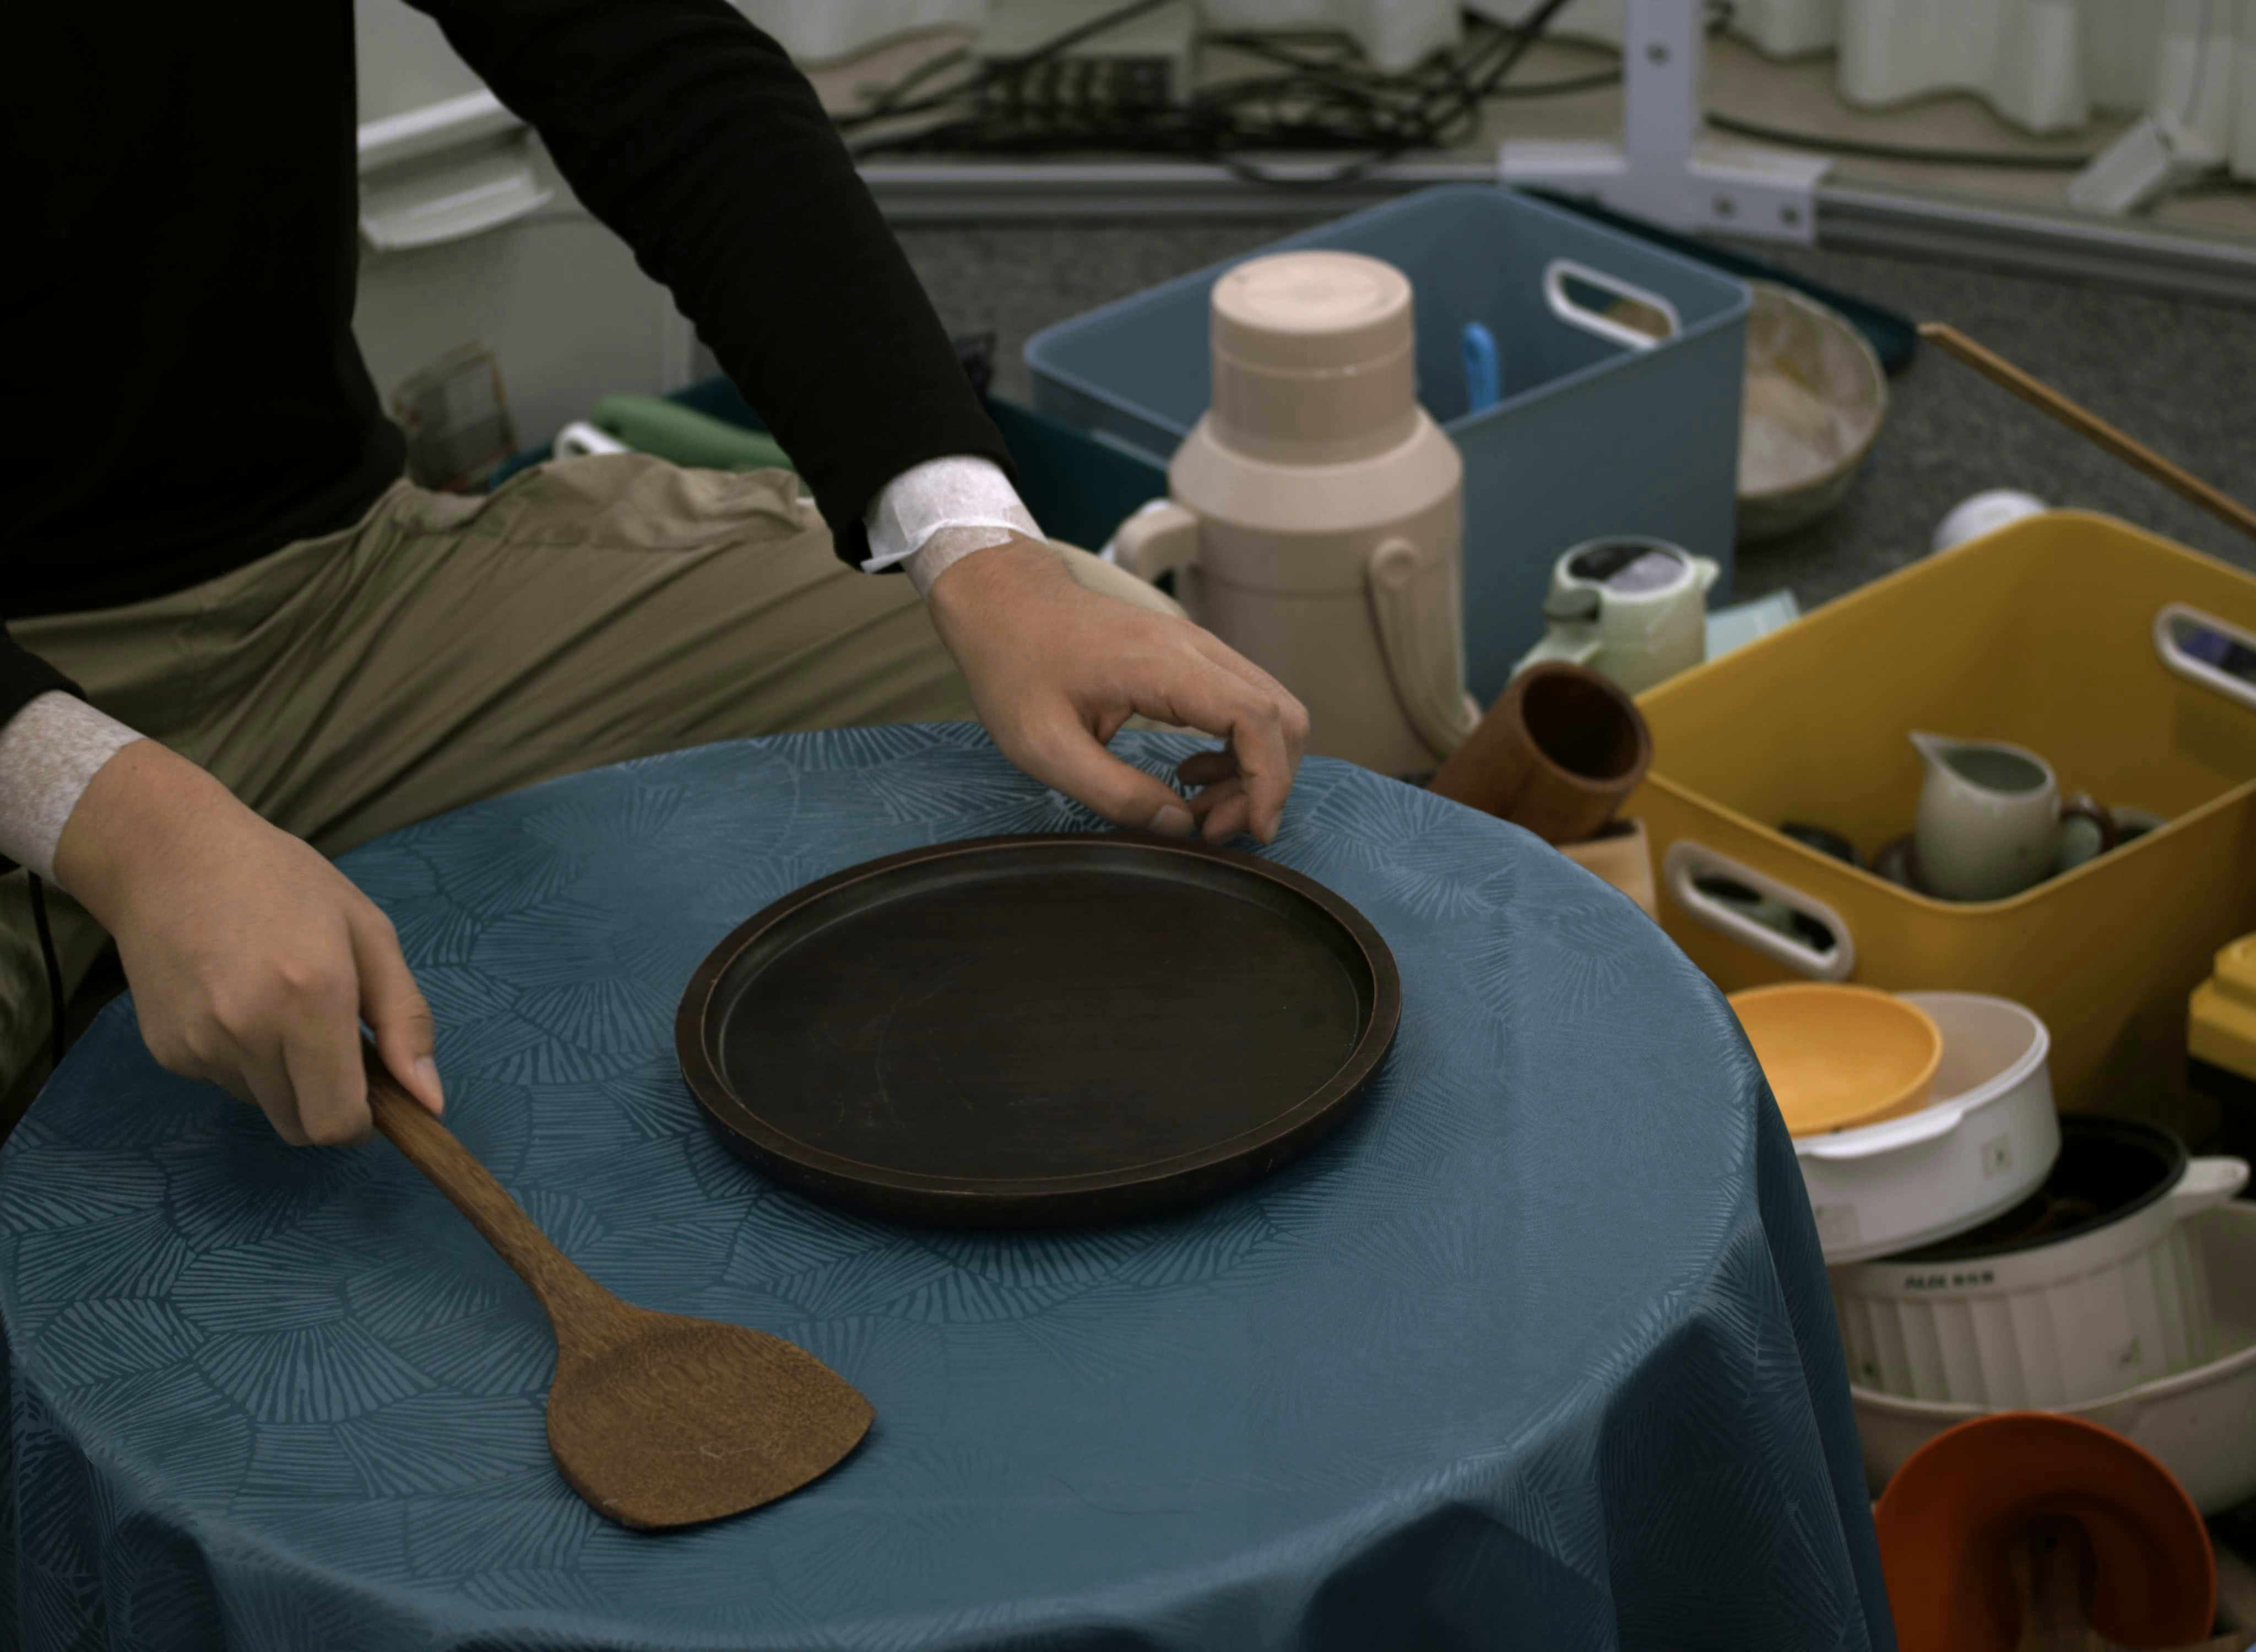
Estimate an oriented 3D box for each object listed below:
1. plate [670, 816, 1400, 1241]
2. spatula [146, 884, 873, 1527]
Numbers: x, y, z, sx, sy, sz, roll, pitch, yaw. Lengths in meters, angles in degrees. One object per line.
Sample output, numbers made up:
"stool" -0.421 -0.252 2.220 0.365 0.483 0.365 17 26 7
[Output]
"plate" -0.032 0.070 1.940 0.253 0.029 0.259 -2 29 2
"spatula" -0.222 0.114 1.833 0.097 0.015 0.388 -20 41 -31
